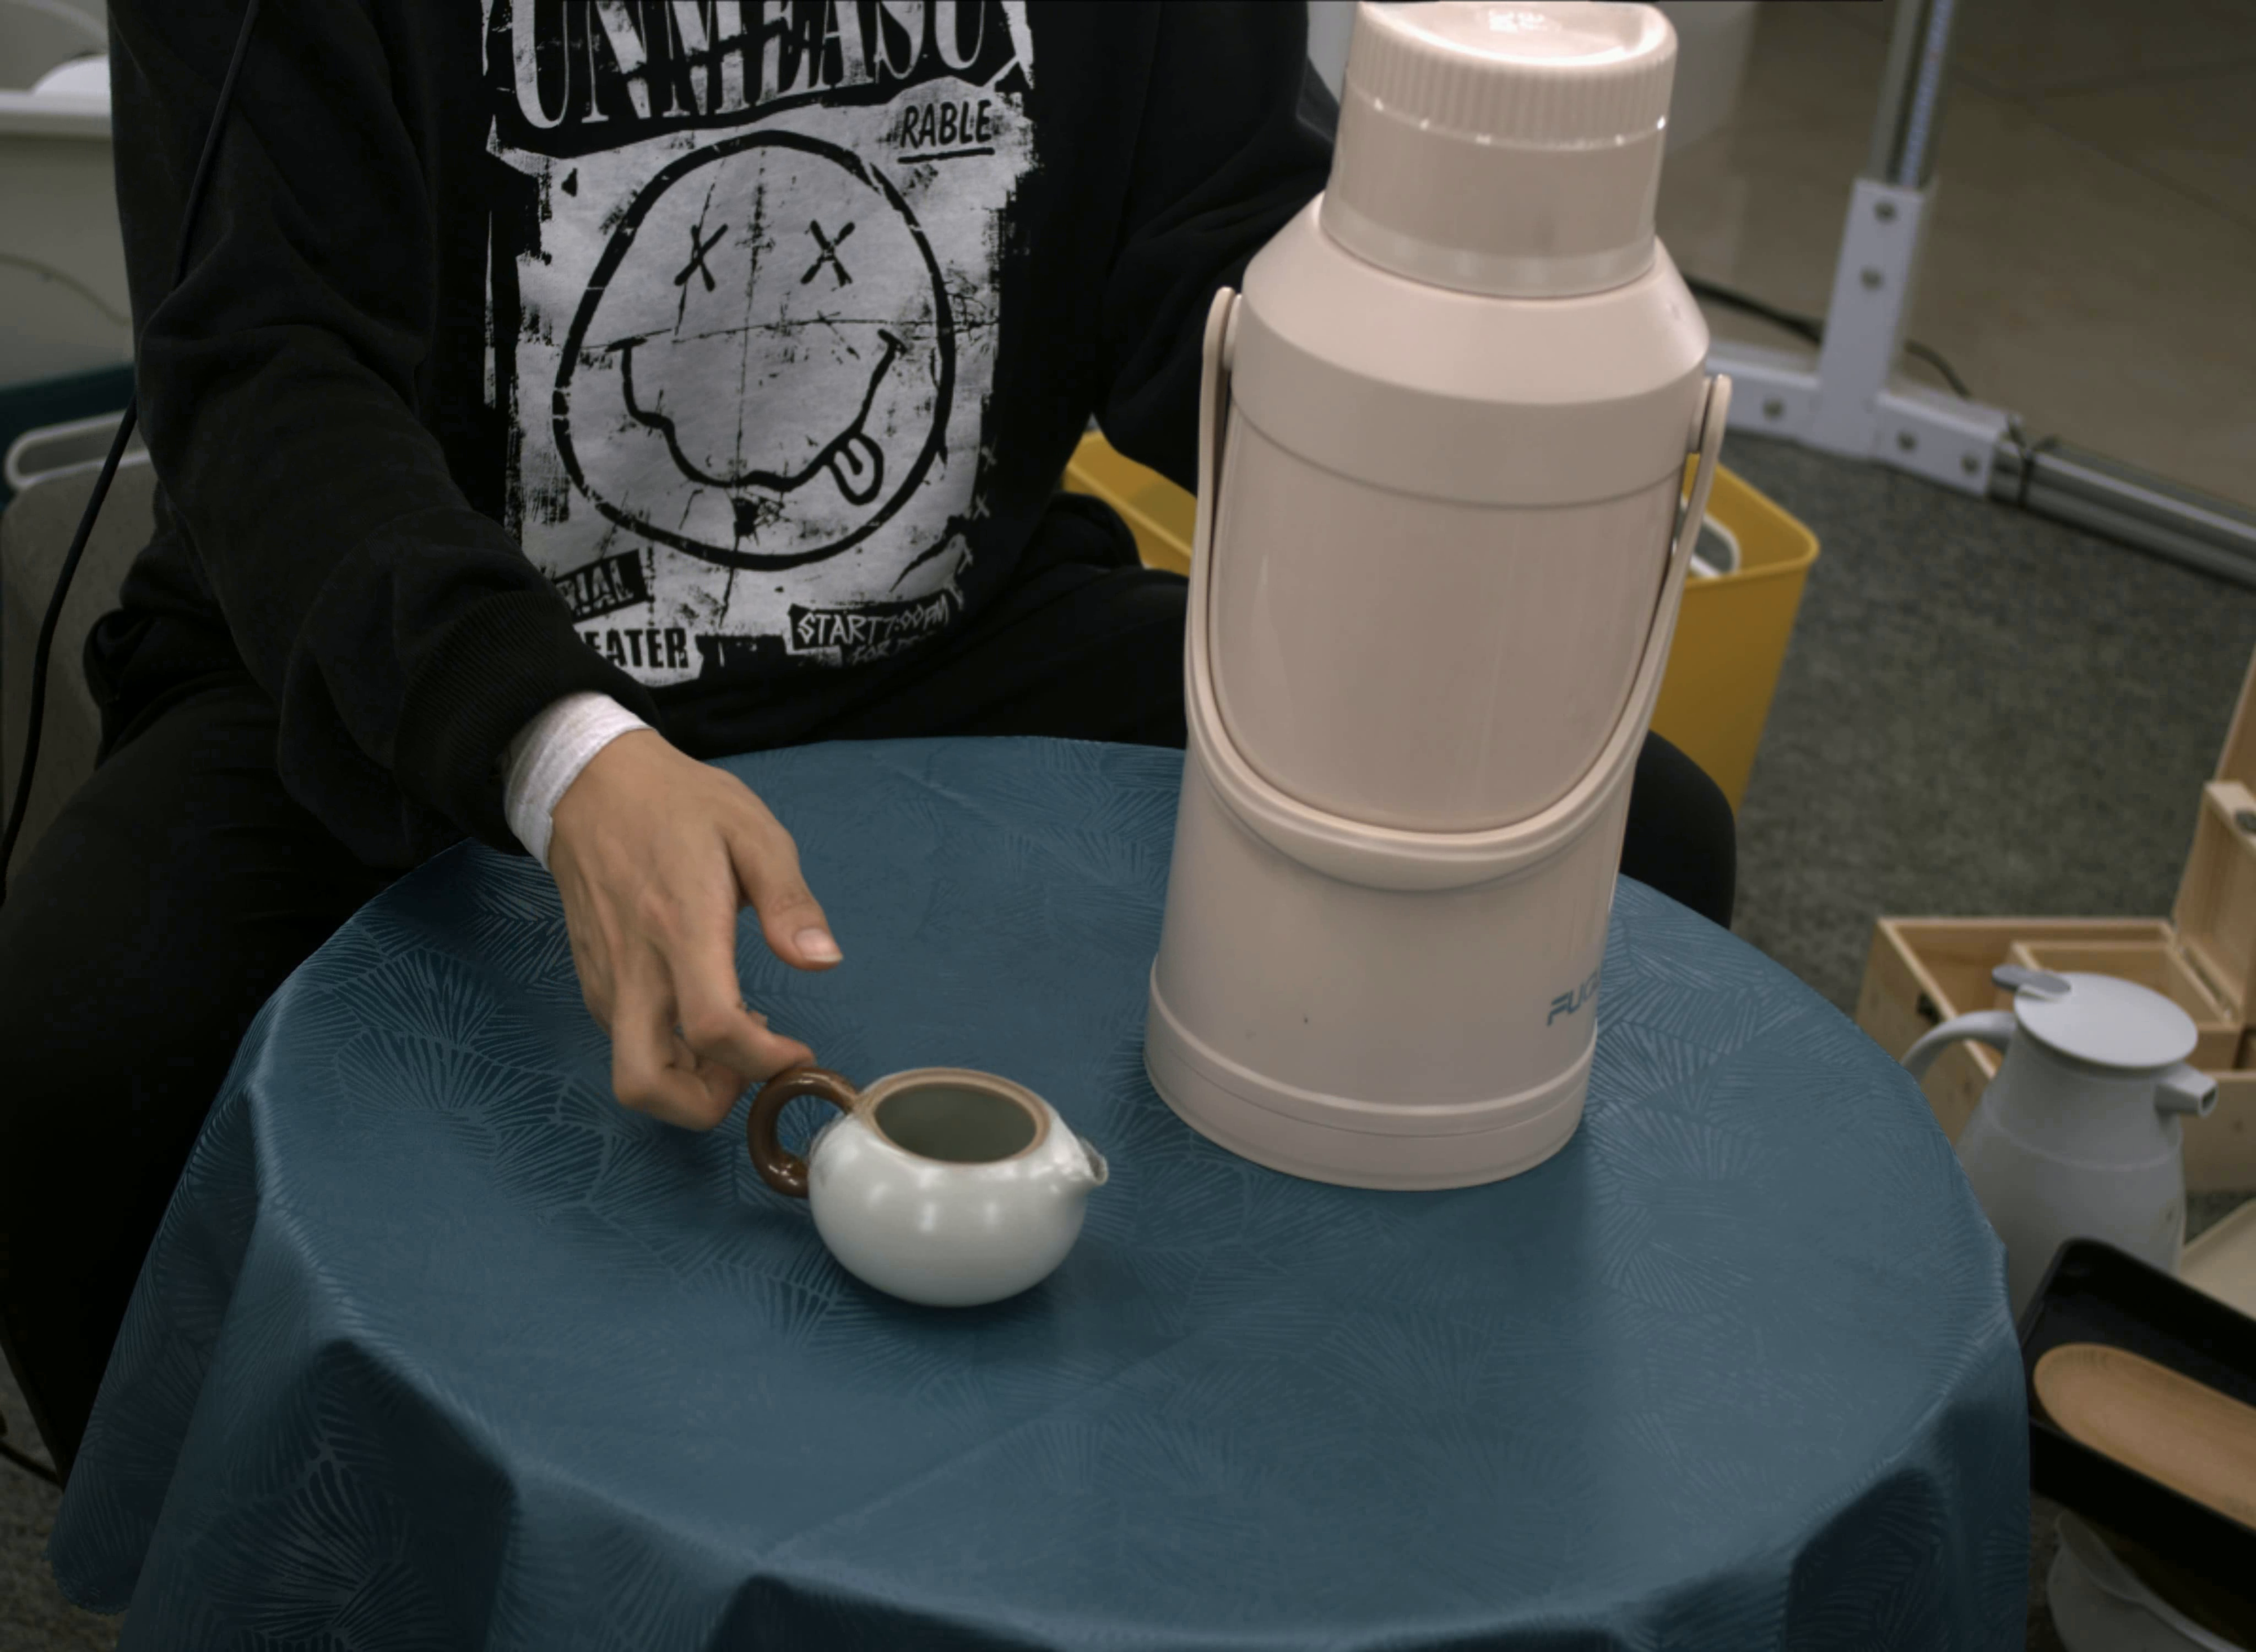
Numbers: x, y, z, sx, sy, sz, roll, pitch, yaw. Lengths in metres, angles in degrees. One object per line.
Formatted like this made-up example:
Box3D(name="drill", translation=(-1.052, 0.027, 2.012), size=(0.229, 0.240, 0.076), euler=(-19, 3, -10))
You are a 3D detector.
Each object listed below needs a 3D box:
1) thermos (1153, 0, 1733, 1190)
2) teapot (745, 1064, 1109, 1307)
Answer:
Box3D(name="thermos", translation=(0.109, -0.092, 1.817), size=(0.175, 0.405, 0.208), euler=(9, 27, 8))
Box3D(name="teapot", translation=(-0.068, 0.115, 1.742), size=(0.128, 0.059, 0.092), euler=(17, 31, 17))
